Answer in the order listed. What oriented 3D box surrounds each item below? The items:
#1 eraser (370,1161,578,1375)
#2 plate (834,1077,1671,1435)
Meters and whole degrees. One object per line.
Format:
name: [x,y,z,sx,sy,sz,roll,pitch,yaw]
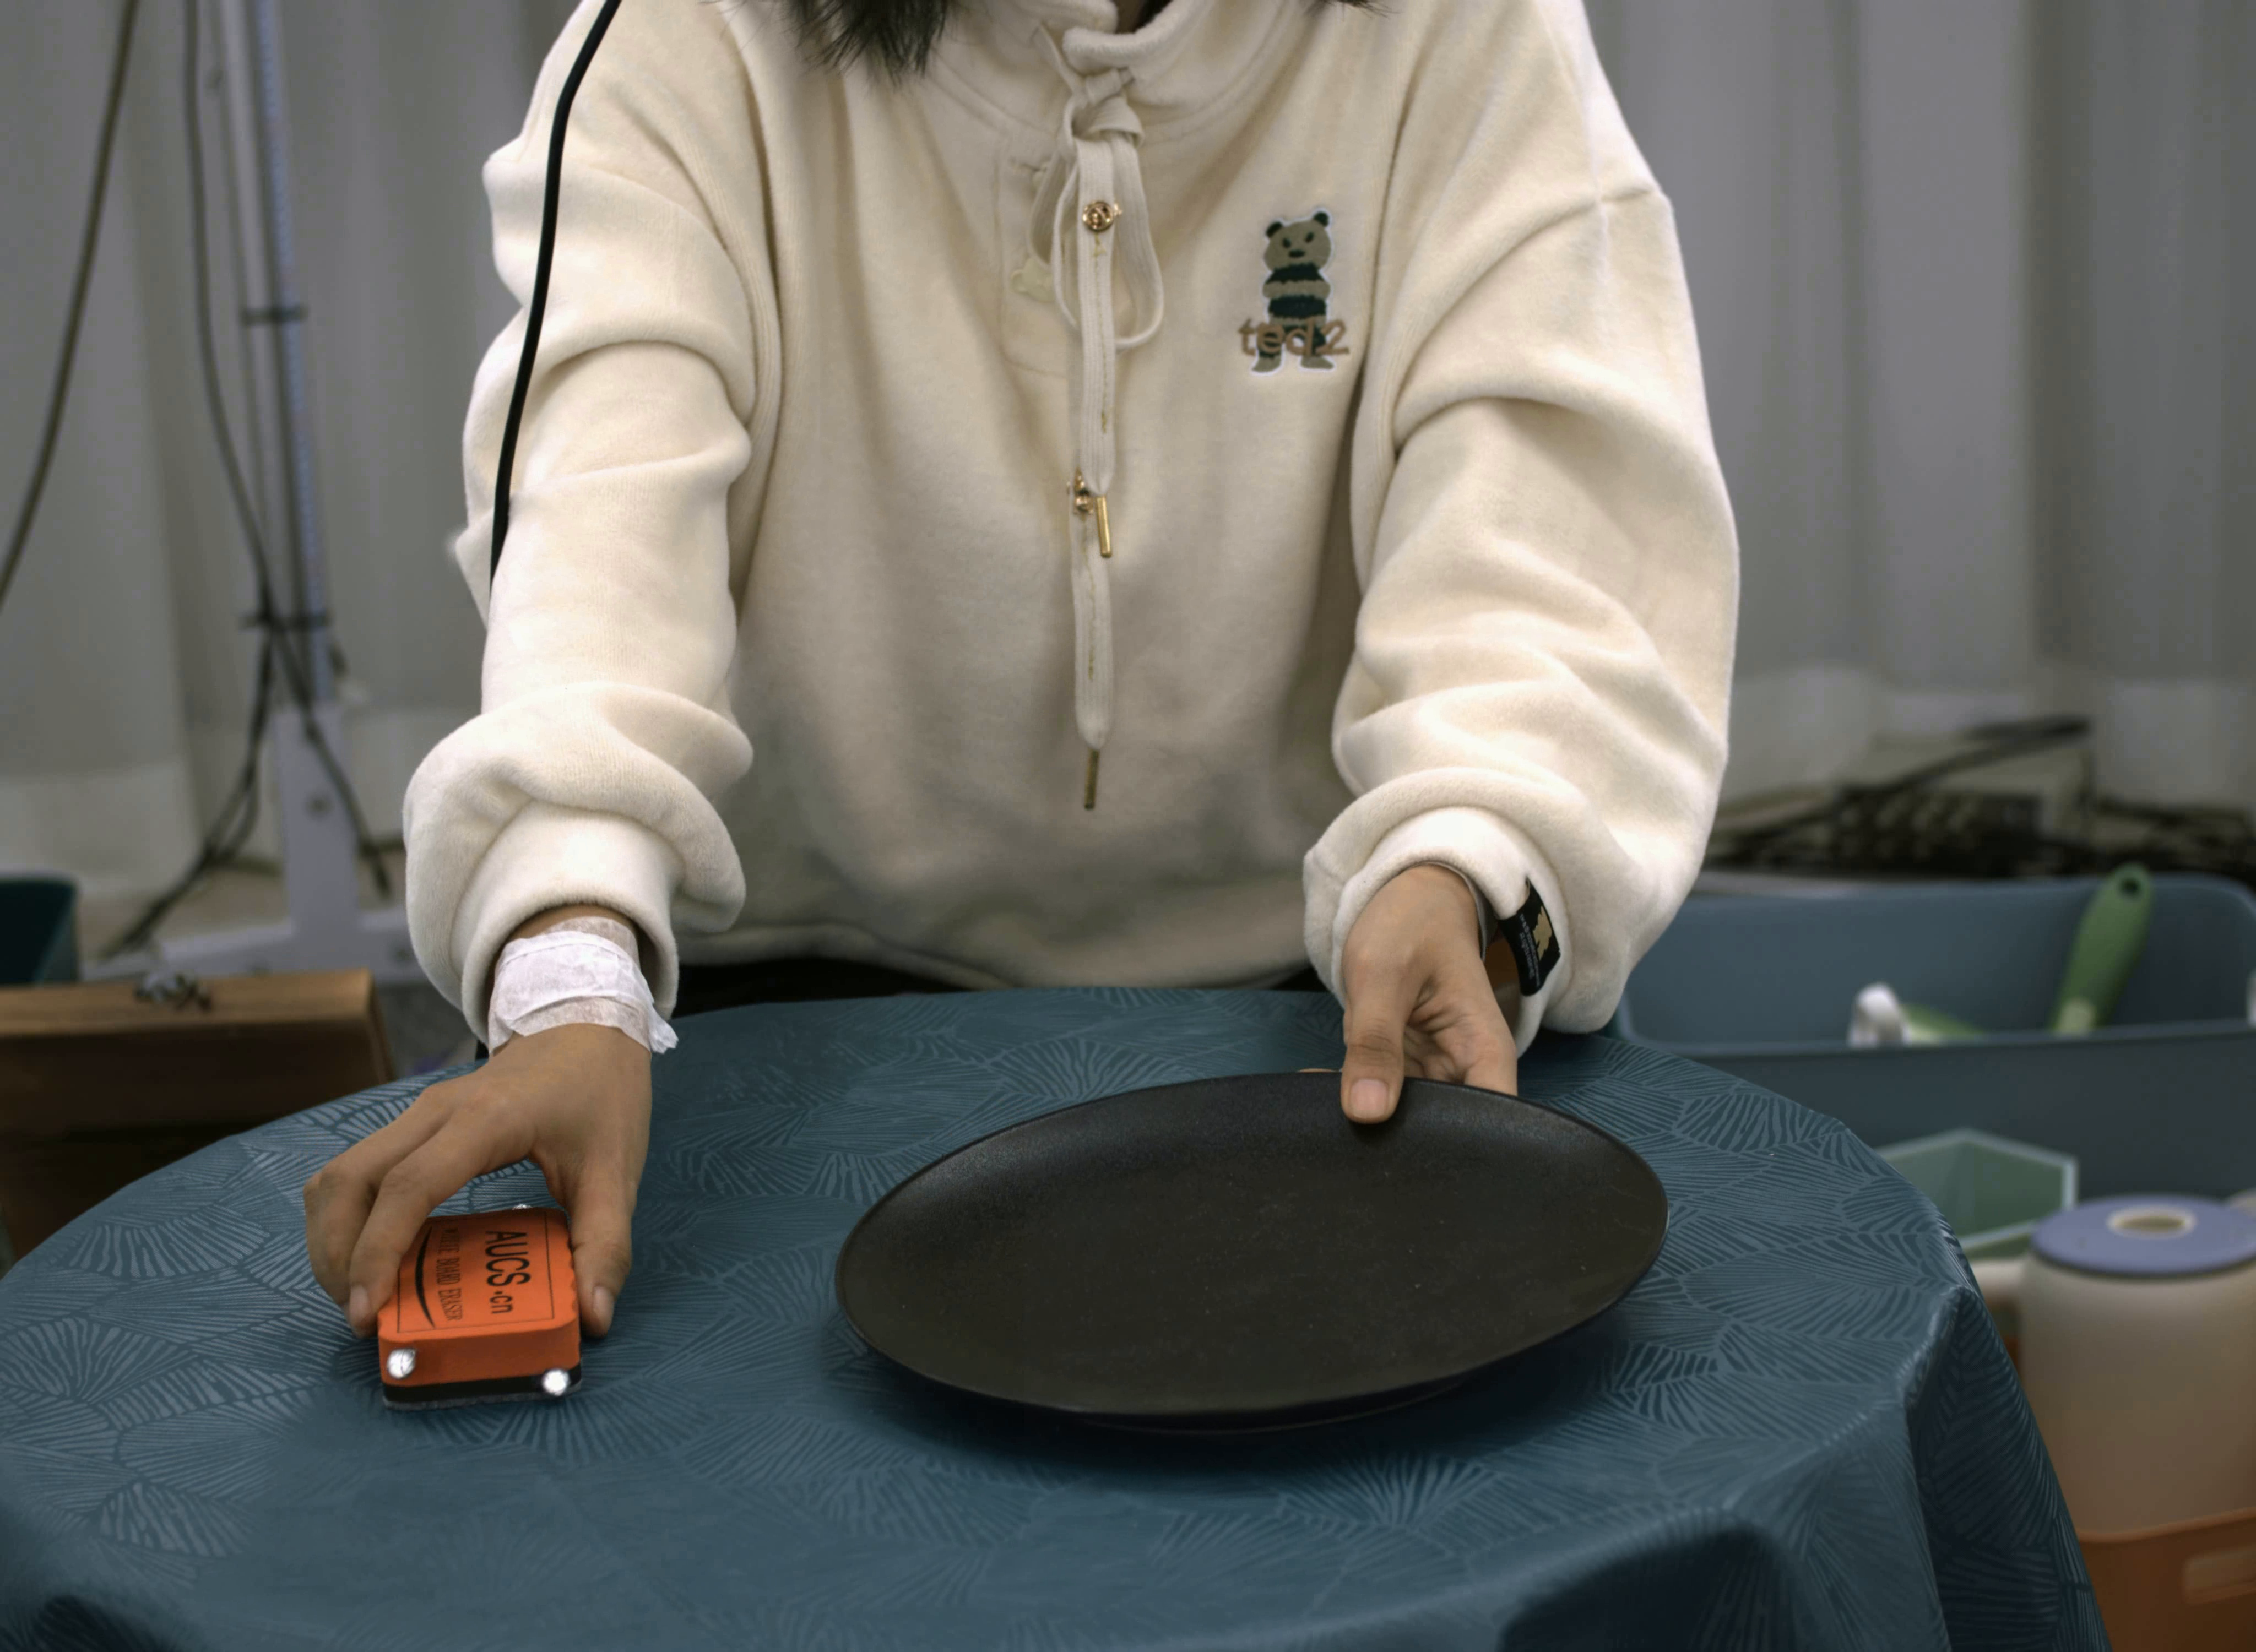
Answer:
eraser: [-0.192,0.129,1.605,0.059,0.023,0.109,-9,17,-4]
plate: [0.037,0.127,1.587,0.243,0.023,0.246,-5,19,1]
